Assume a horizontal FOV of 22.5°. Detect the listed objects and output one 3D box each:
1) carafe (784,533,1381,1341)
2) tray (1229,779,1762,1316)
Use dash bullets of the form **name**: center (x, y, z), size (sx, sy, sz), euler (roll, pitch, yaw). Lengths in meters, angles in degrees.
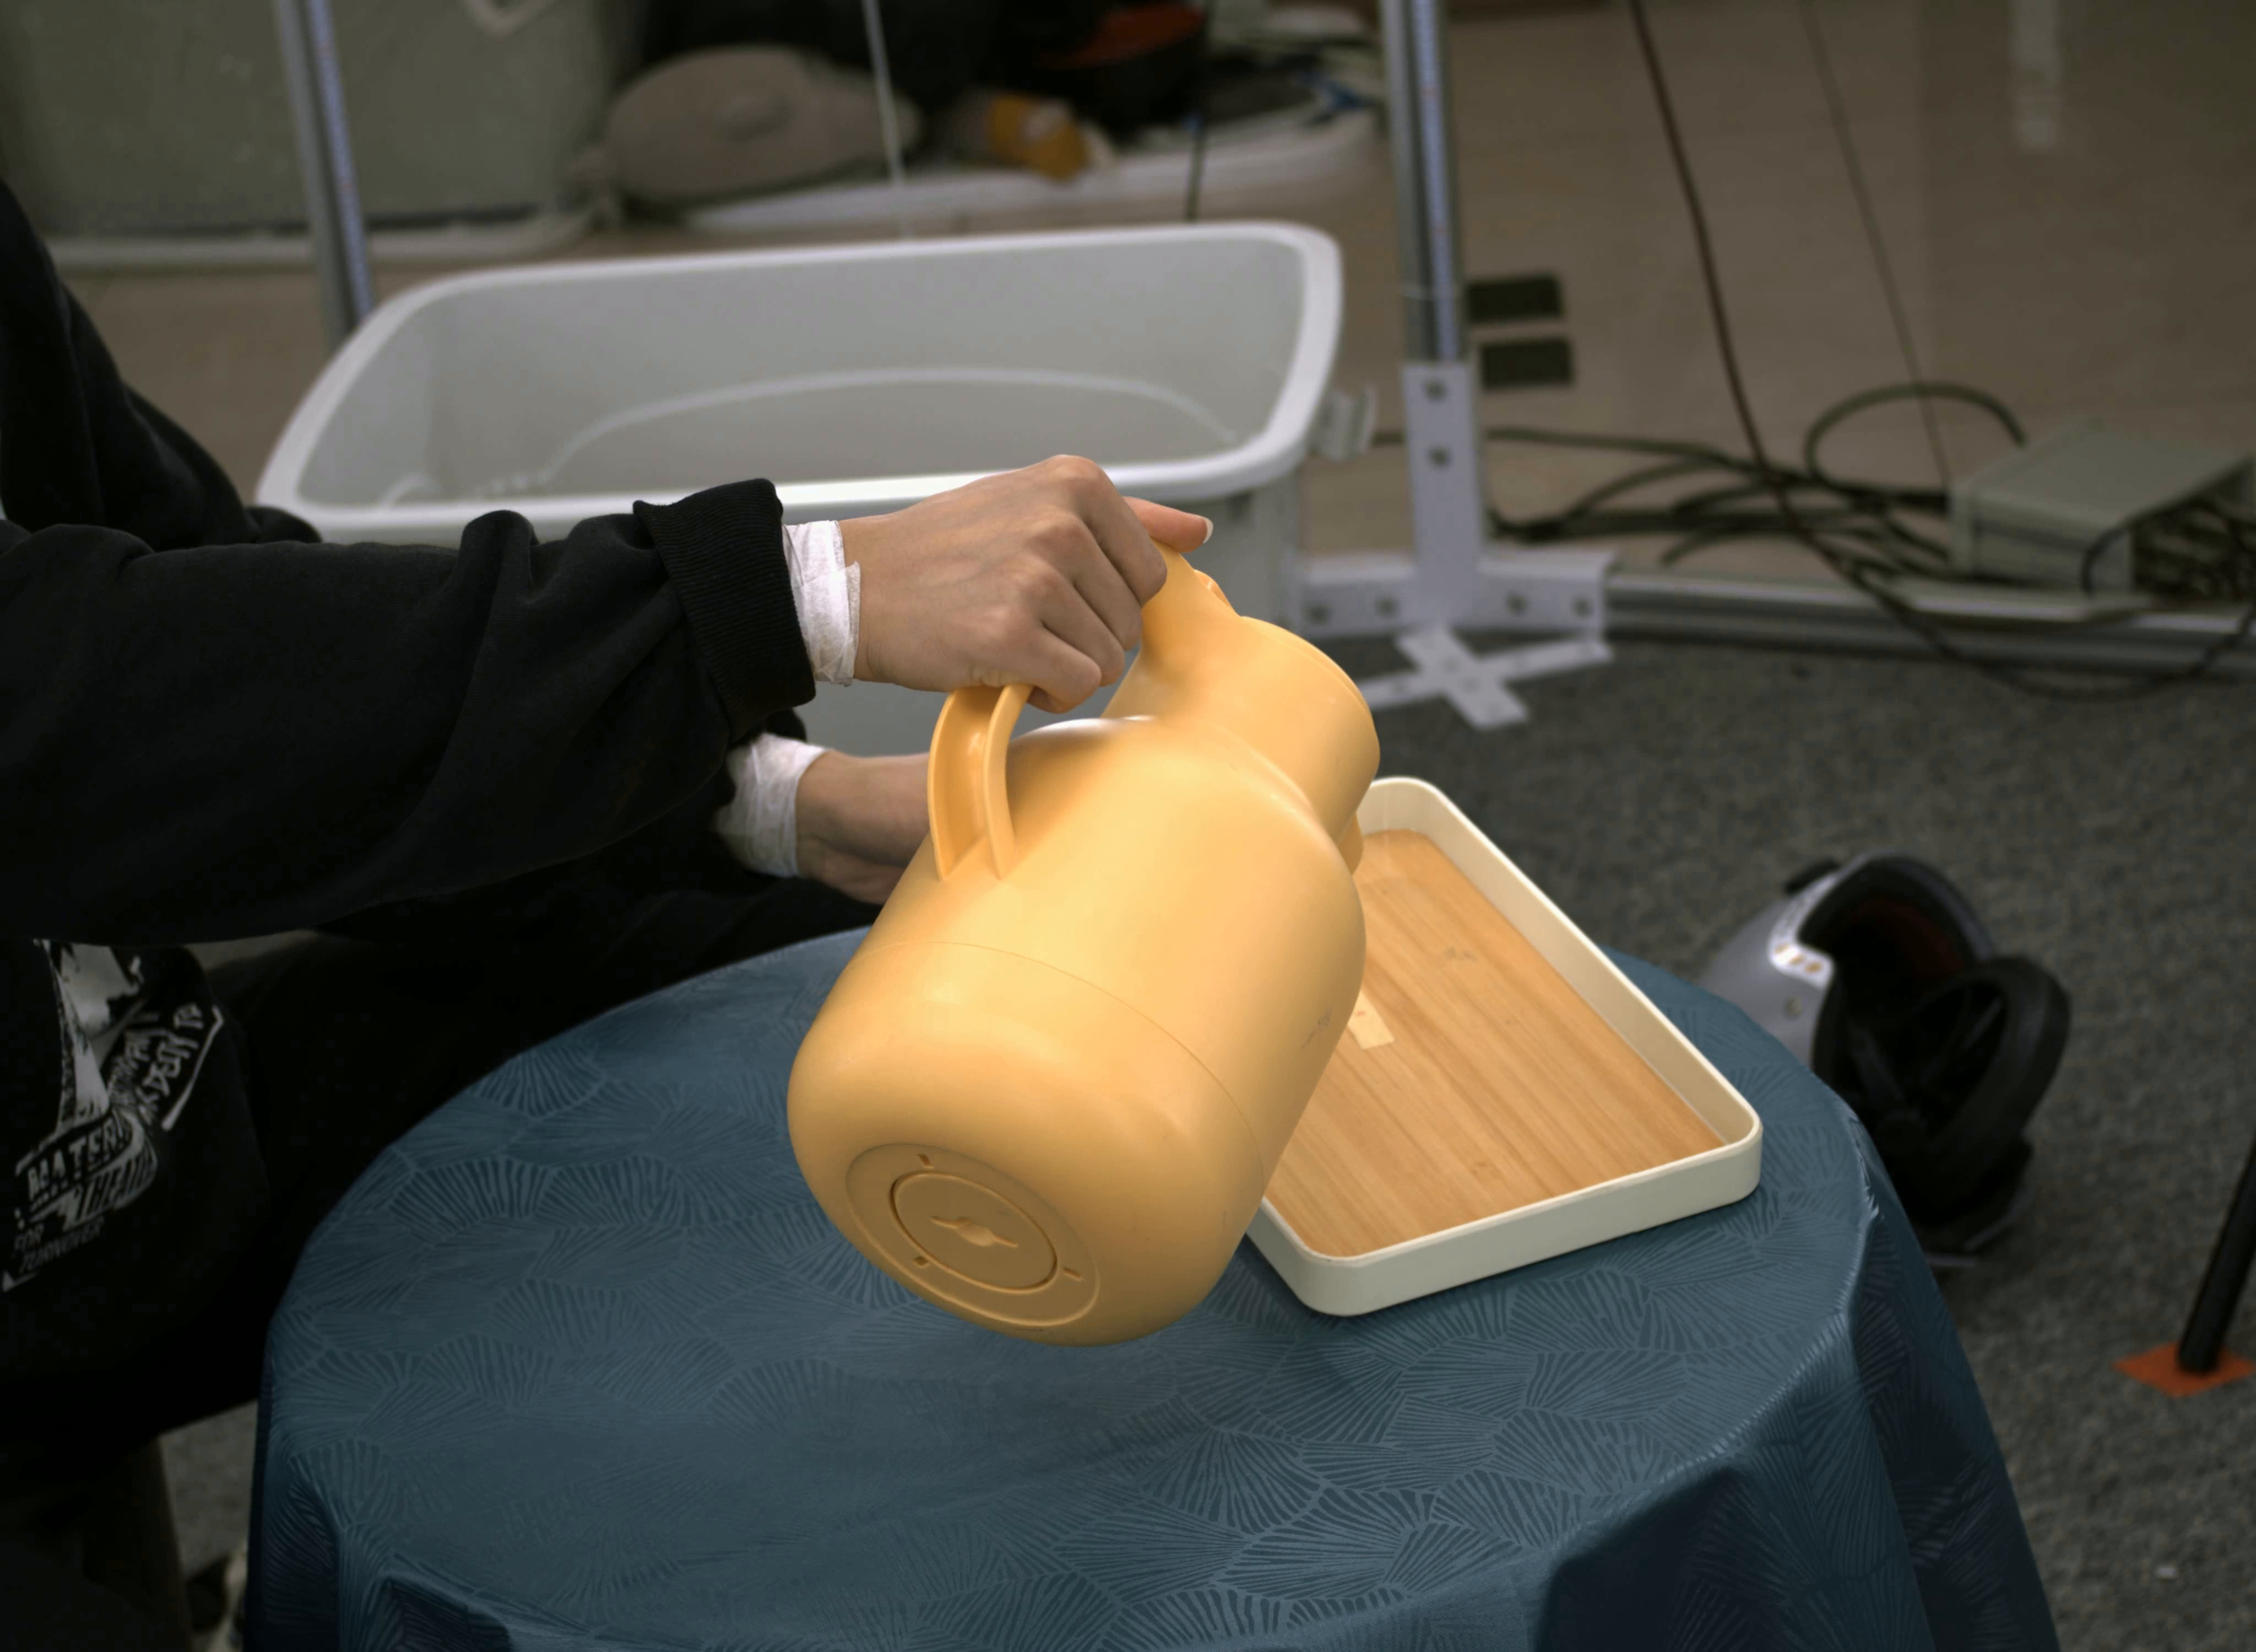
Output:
- **carafe**: center (-0.011, 0.029, 1.959), size (0.163, 0.205, 0.256), euler (-4, 43, 38)
- **tray**: center (0.093, 0.079, 2.177), size (0.191, 0.028, 0.296), euler (-15, 34, -19)
